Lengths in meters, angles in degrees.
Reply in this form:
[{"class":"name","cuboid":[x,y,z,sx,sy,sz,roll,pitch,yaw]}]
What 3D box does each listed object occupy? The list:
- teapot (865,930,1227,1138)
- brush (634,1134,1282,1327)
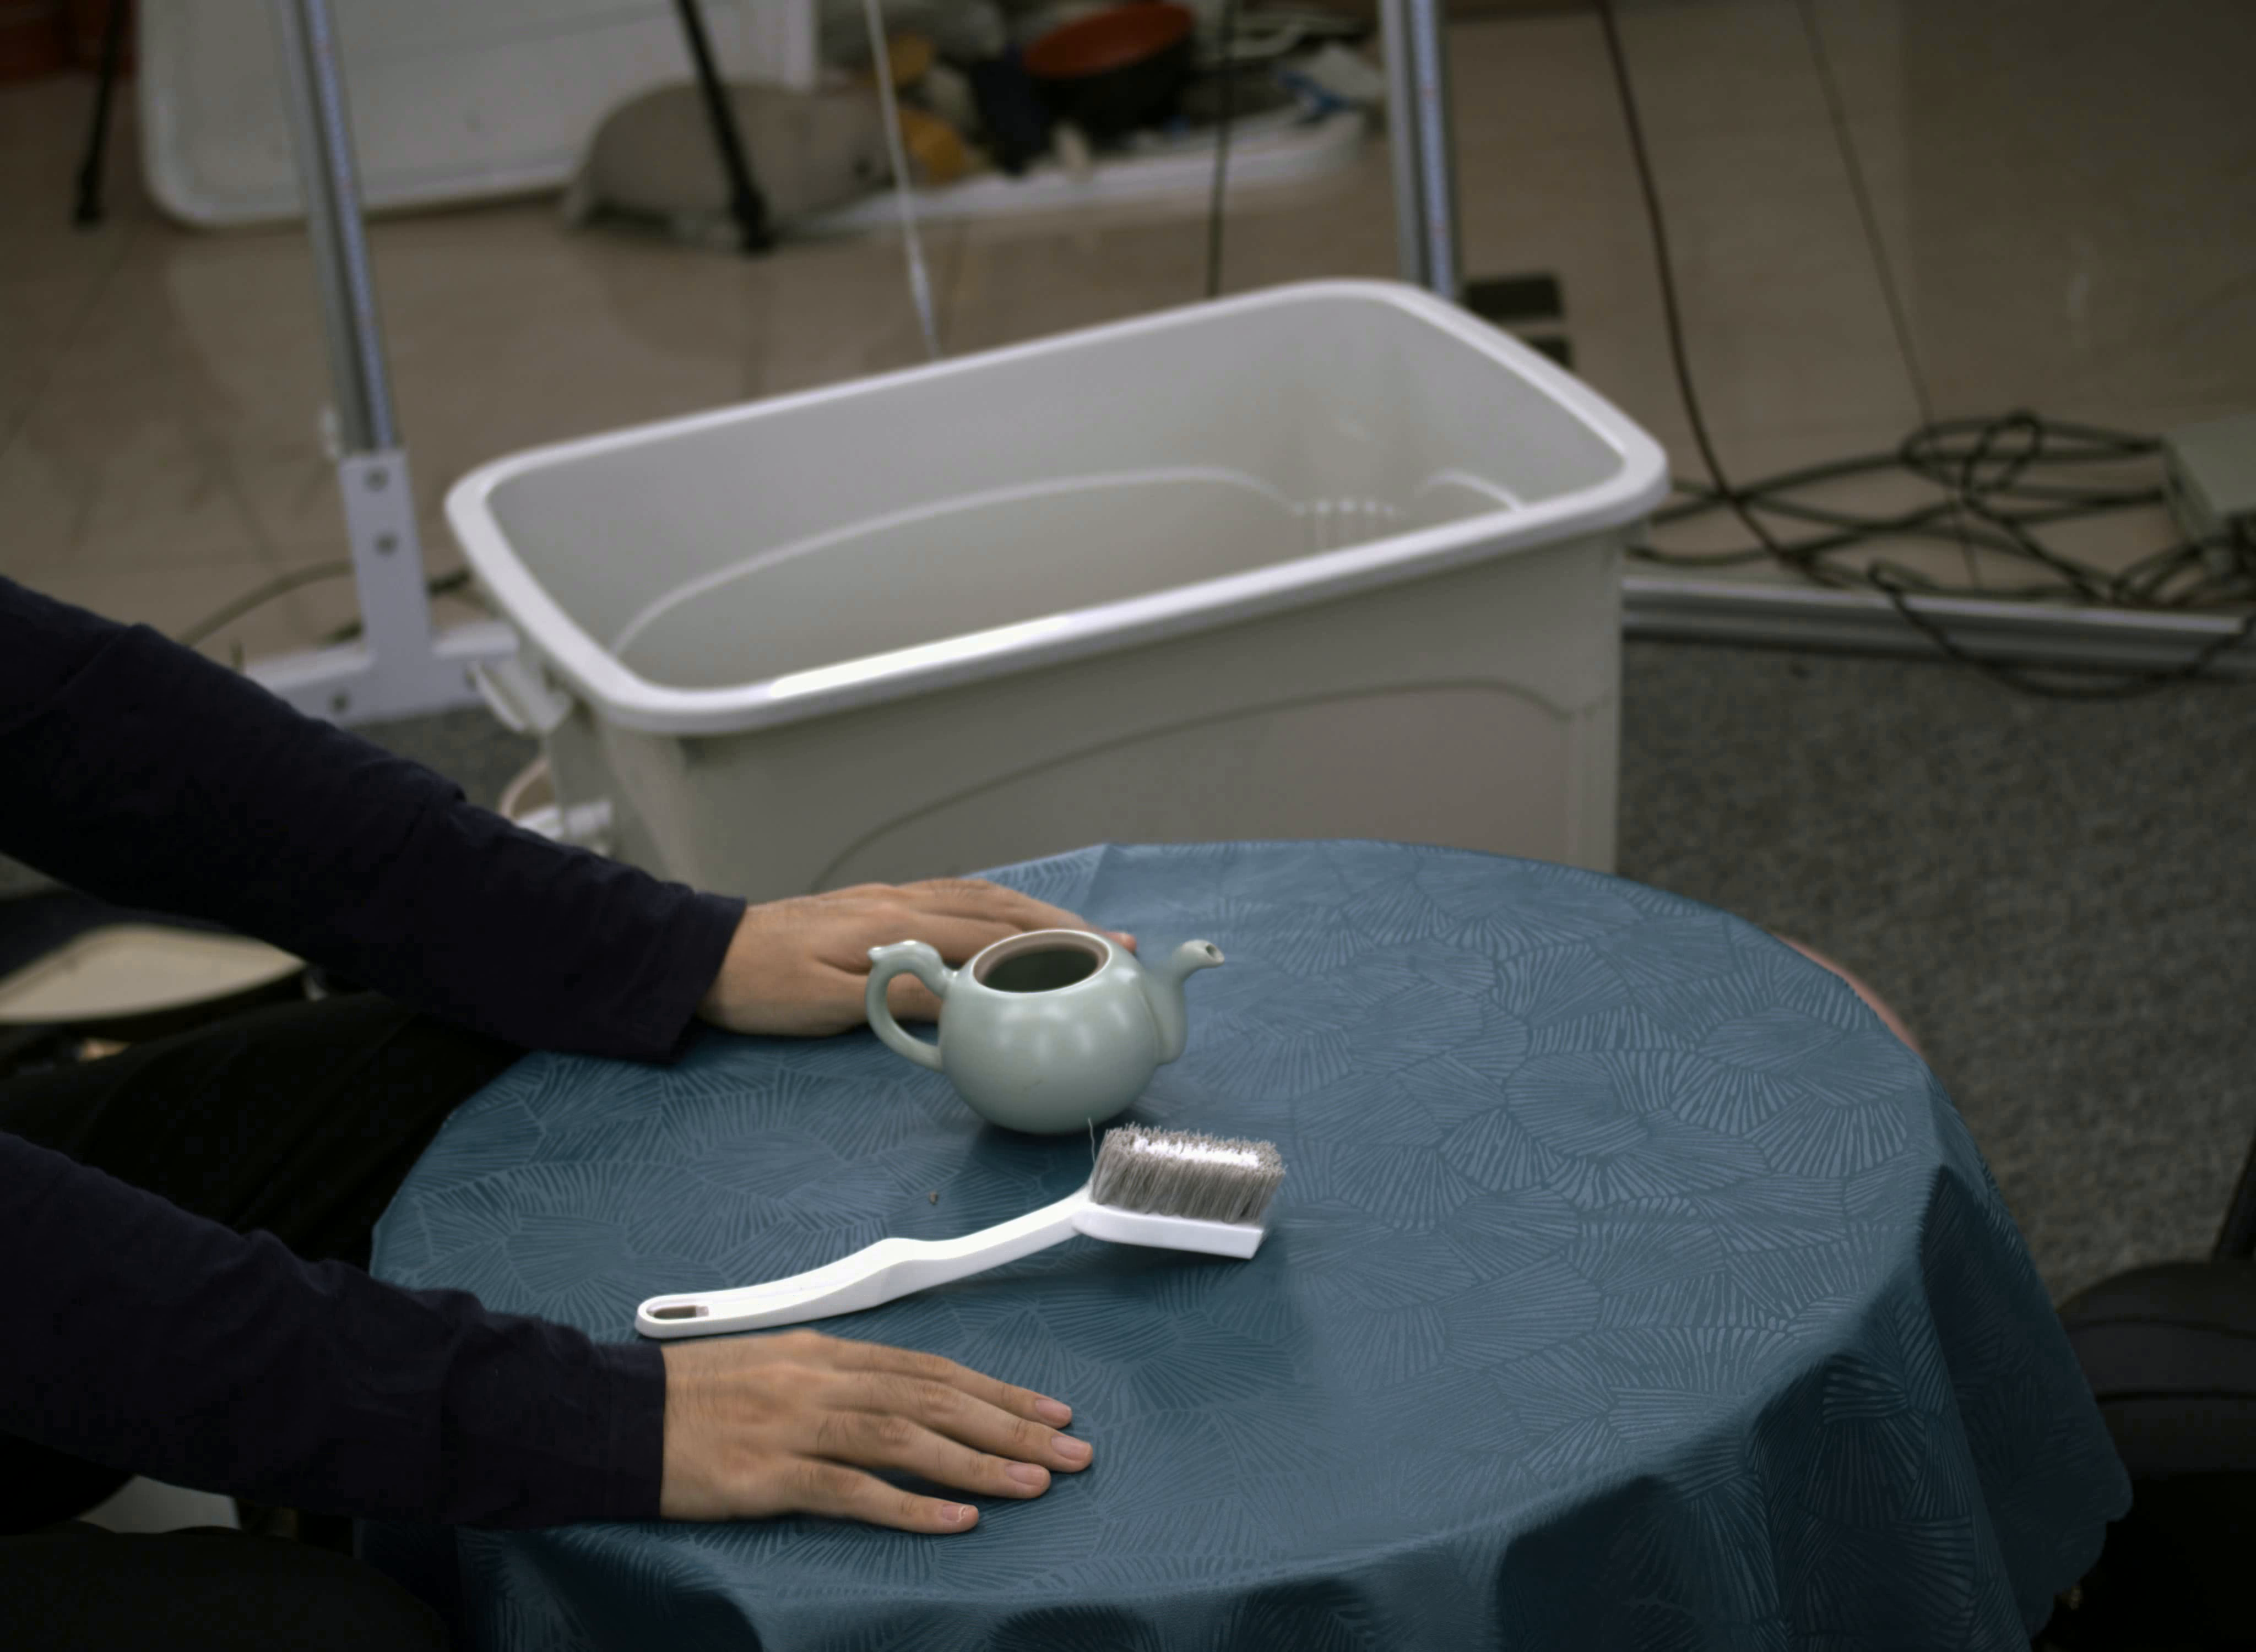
[{"class":"teapot","cuboid":[-0.030,0.080,2.198,0.143,0.076,0.087,1,27,12]},{"class":"brush","cuboid":[-0.064,0.148,2.089,0.243,0.051,0.034,-7,30,0]}]
